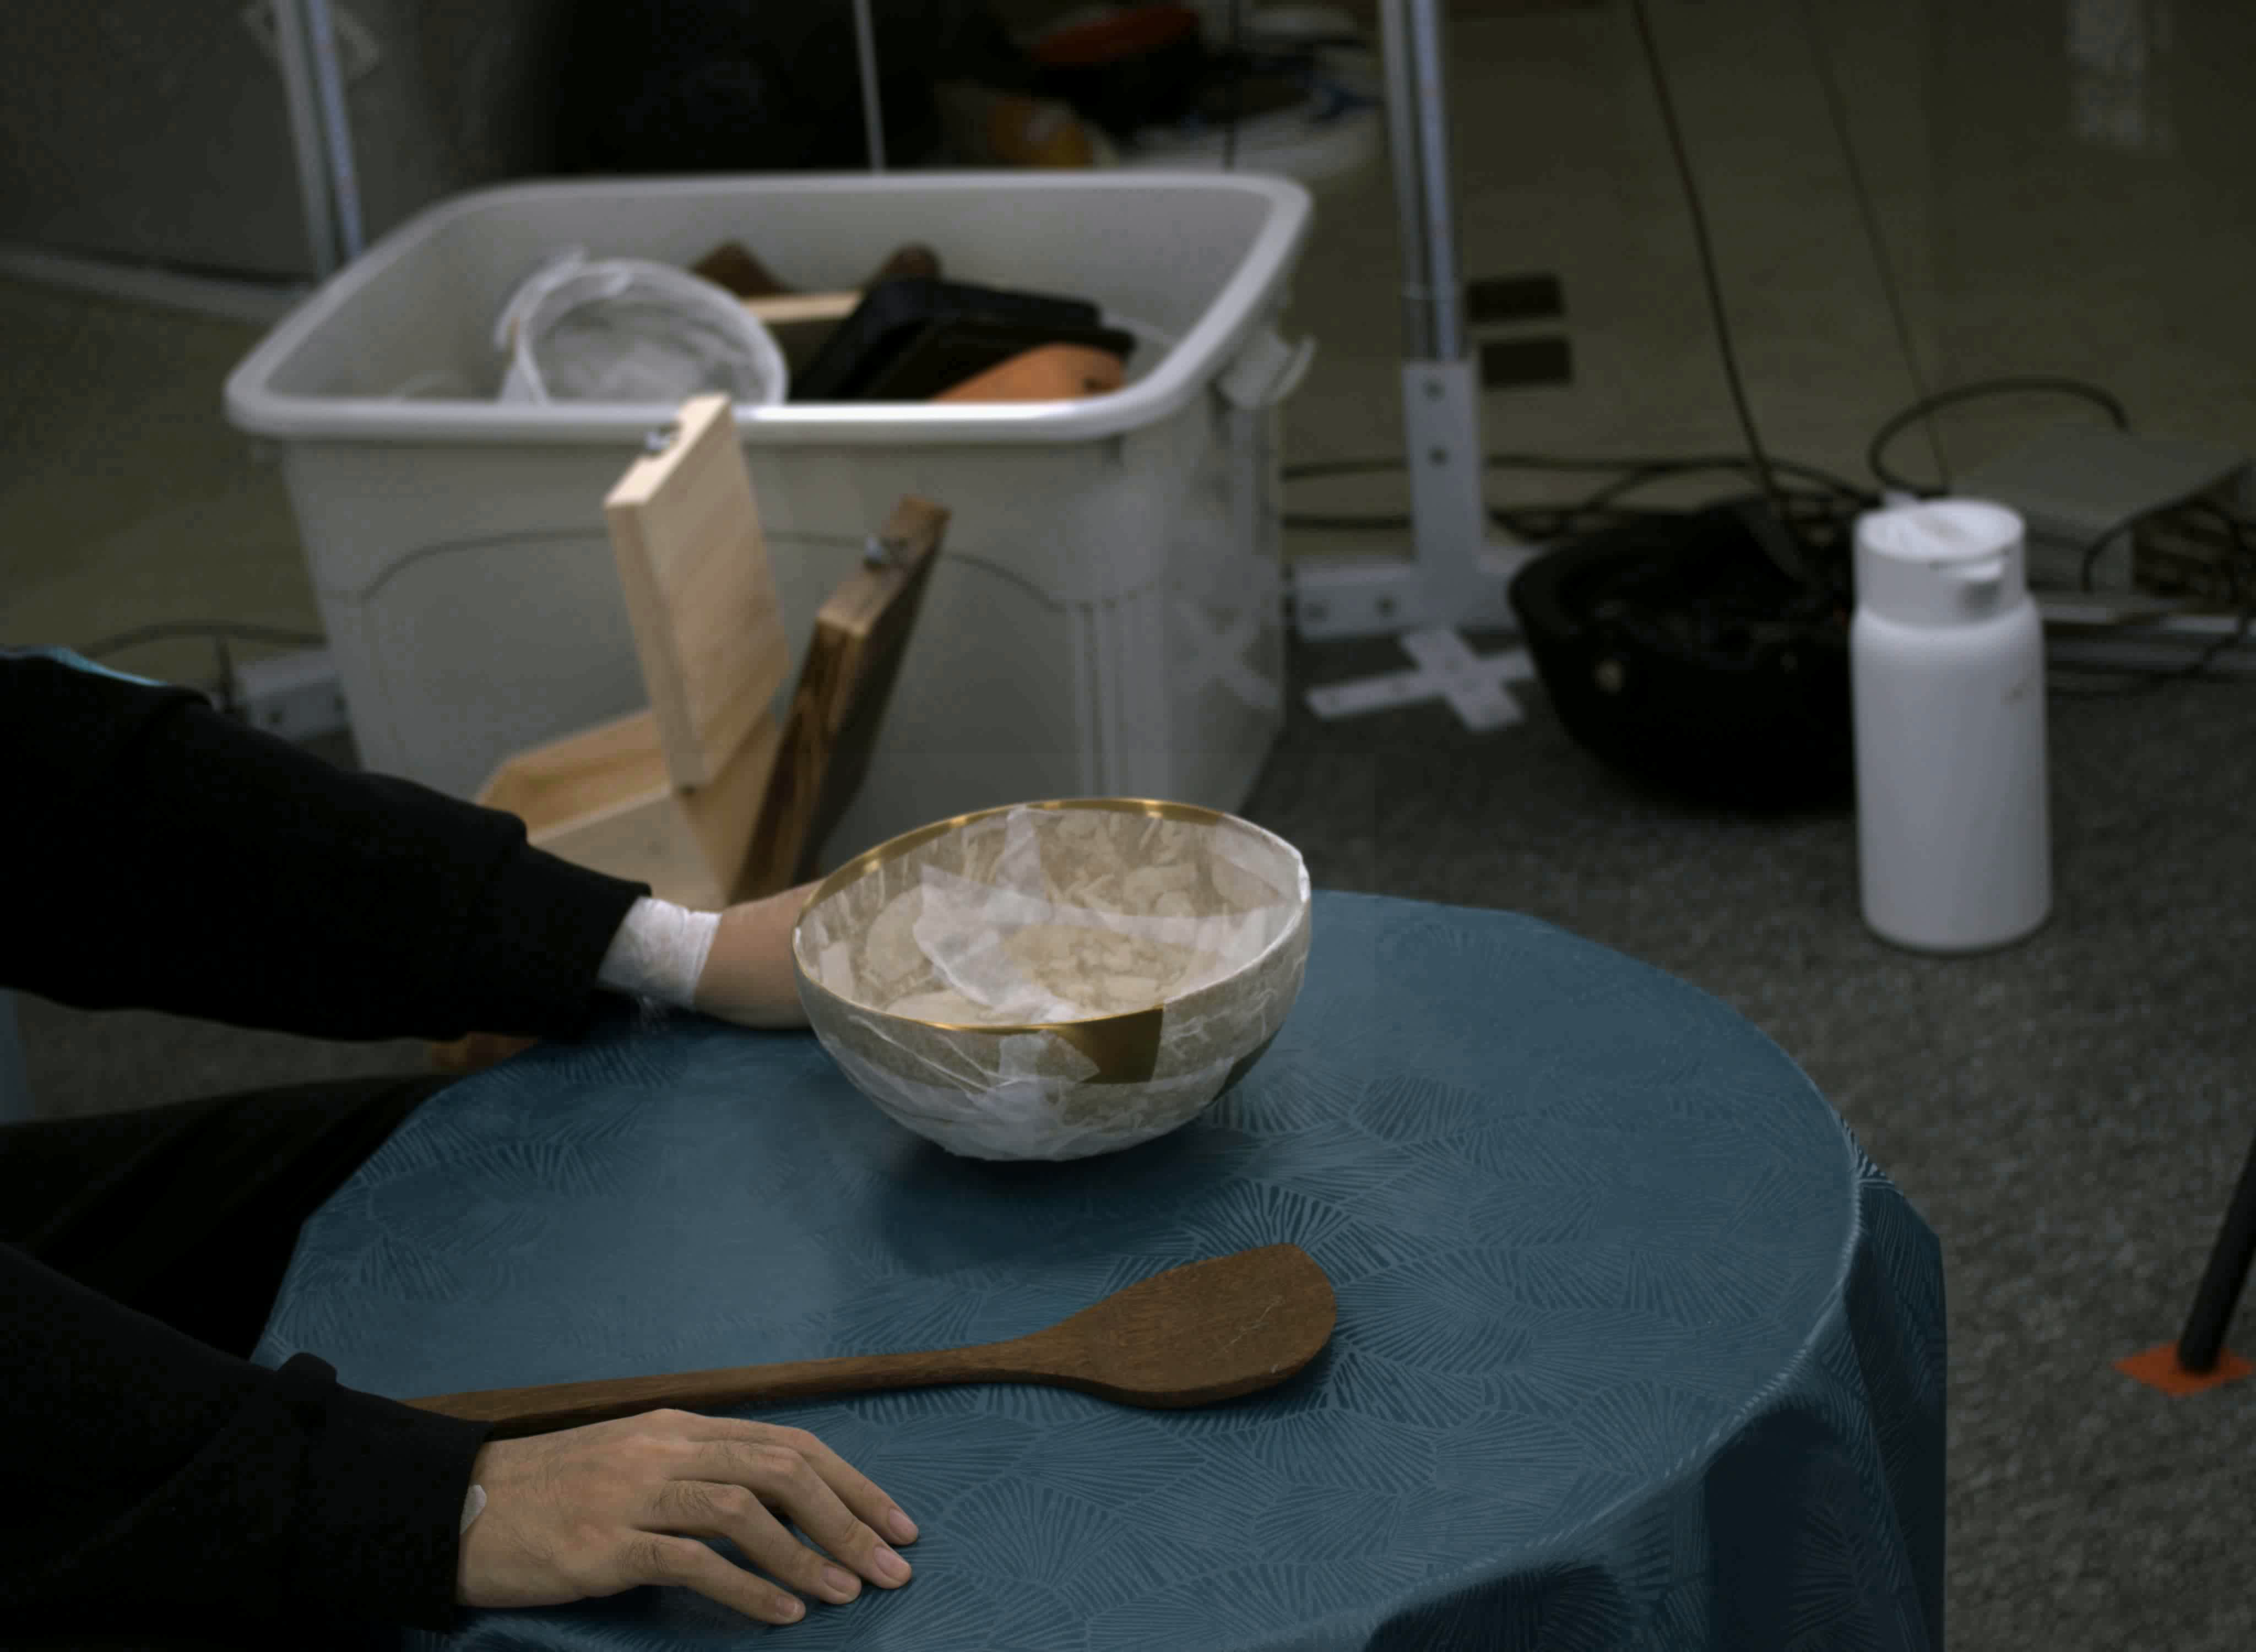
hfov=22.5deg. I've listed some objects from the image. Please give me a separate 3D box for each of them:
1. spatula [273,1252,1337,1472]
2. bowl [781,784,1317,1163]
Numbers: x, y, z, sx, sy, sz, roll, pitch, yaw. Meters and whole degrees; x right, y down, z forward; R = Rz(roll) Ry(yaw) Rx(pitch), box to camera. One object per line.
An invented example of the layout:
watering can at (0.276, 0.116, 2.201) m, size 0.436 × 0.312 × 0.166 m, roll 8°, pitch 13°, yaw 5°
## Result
spatula at (-0.117, 0.199, 2.037) m, size 0.385 × 0.016 × 0.095 m, roll -7°, pitch 24°, yaw 0°
bowl at (-0.027, 0.070, 2.195) m, size 0.214 × 0.096 × 0.211 m, roll -6°, pitch 26°, yaw 3°
